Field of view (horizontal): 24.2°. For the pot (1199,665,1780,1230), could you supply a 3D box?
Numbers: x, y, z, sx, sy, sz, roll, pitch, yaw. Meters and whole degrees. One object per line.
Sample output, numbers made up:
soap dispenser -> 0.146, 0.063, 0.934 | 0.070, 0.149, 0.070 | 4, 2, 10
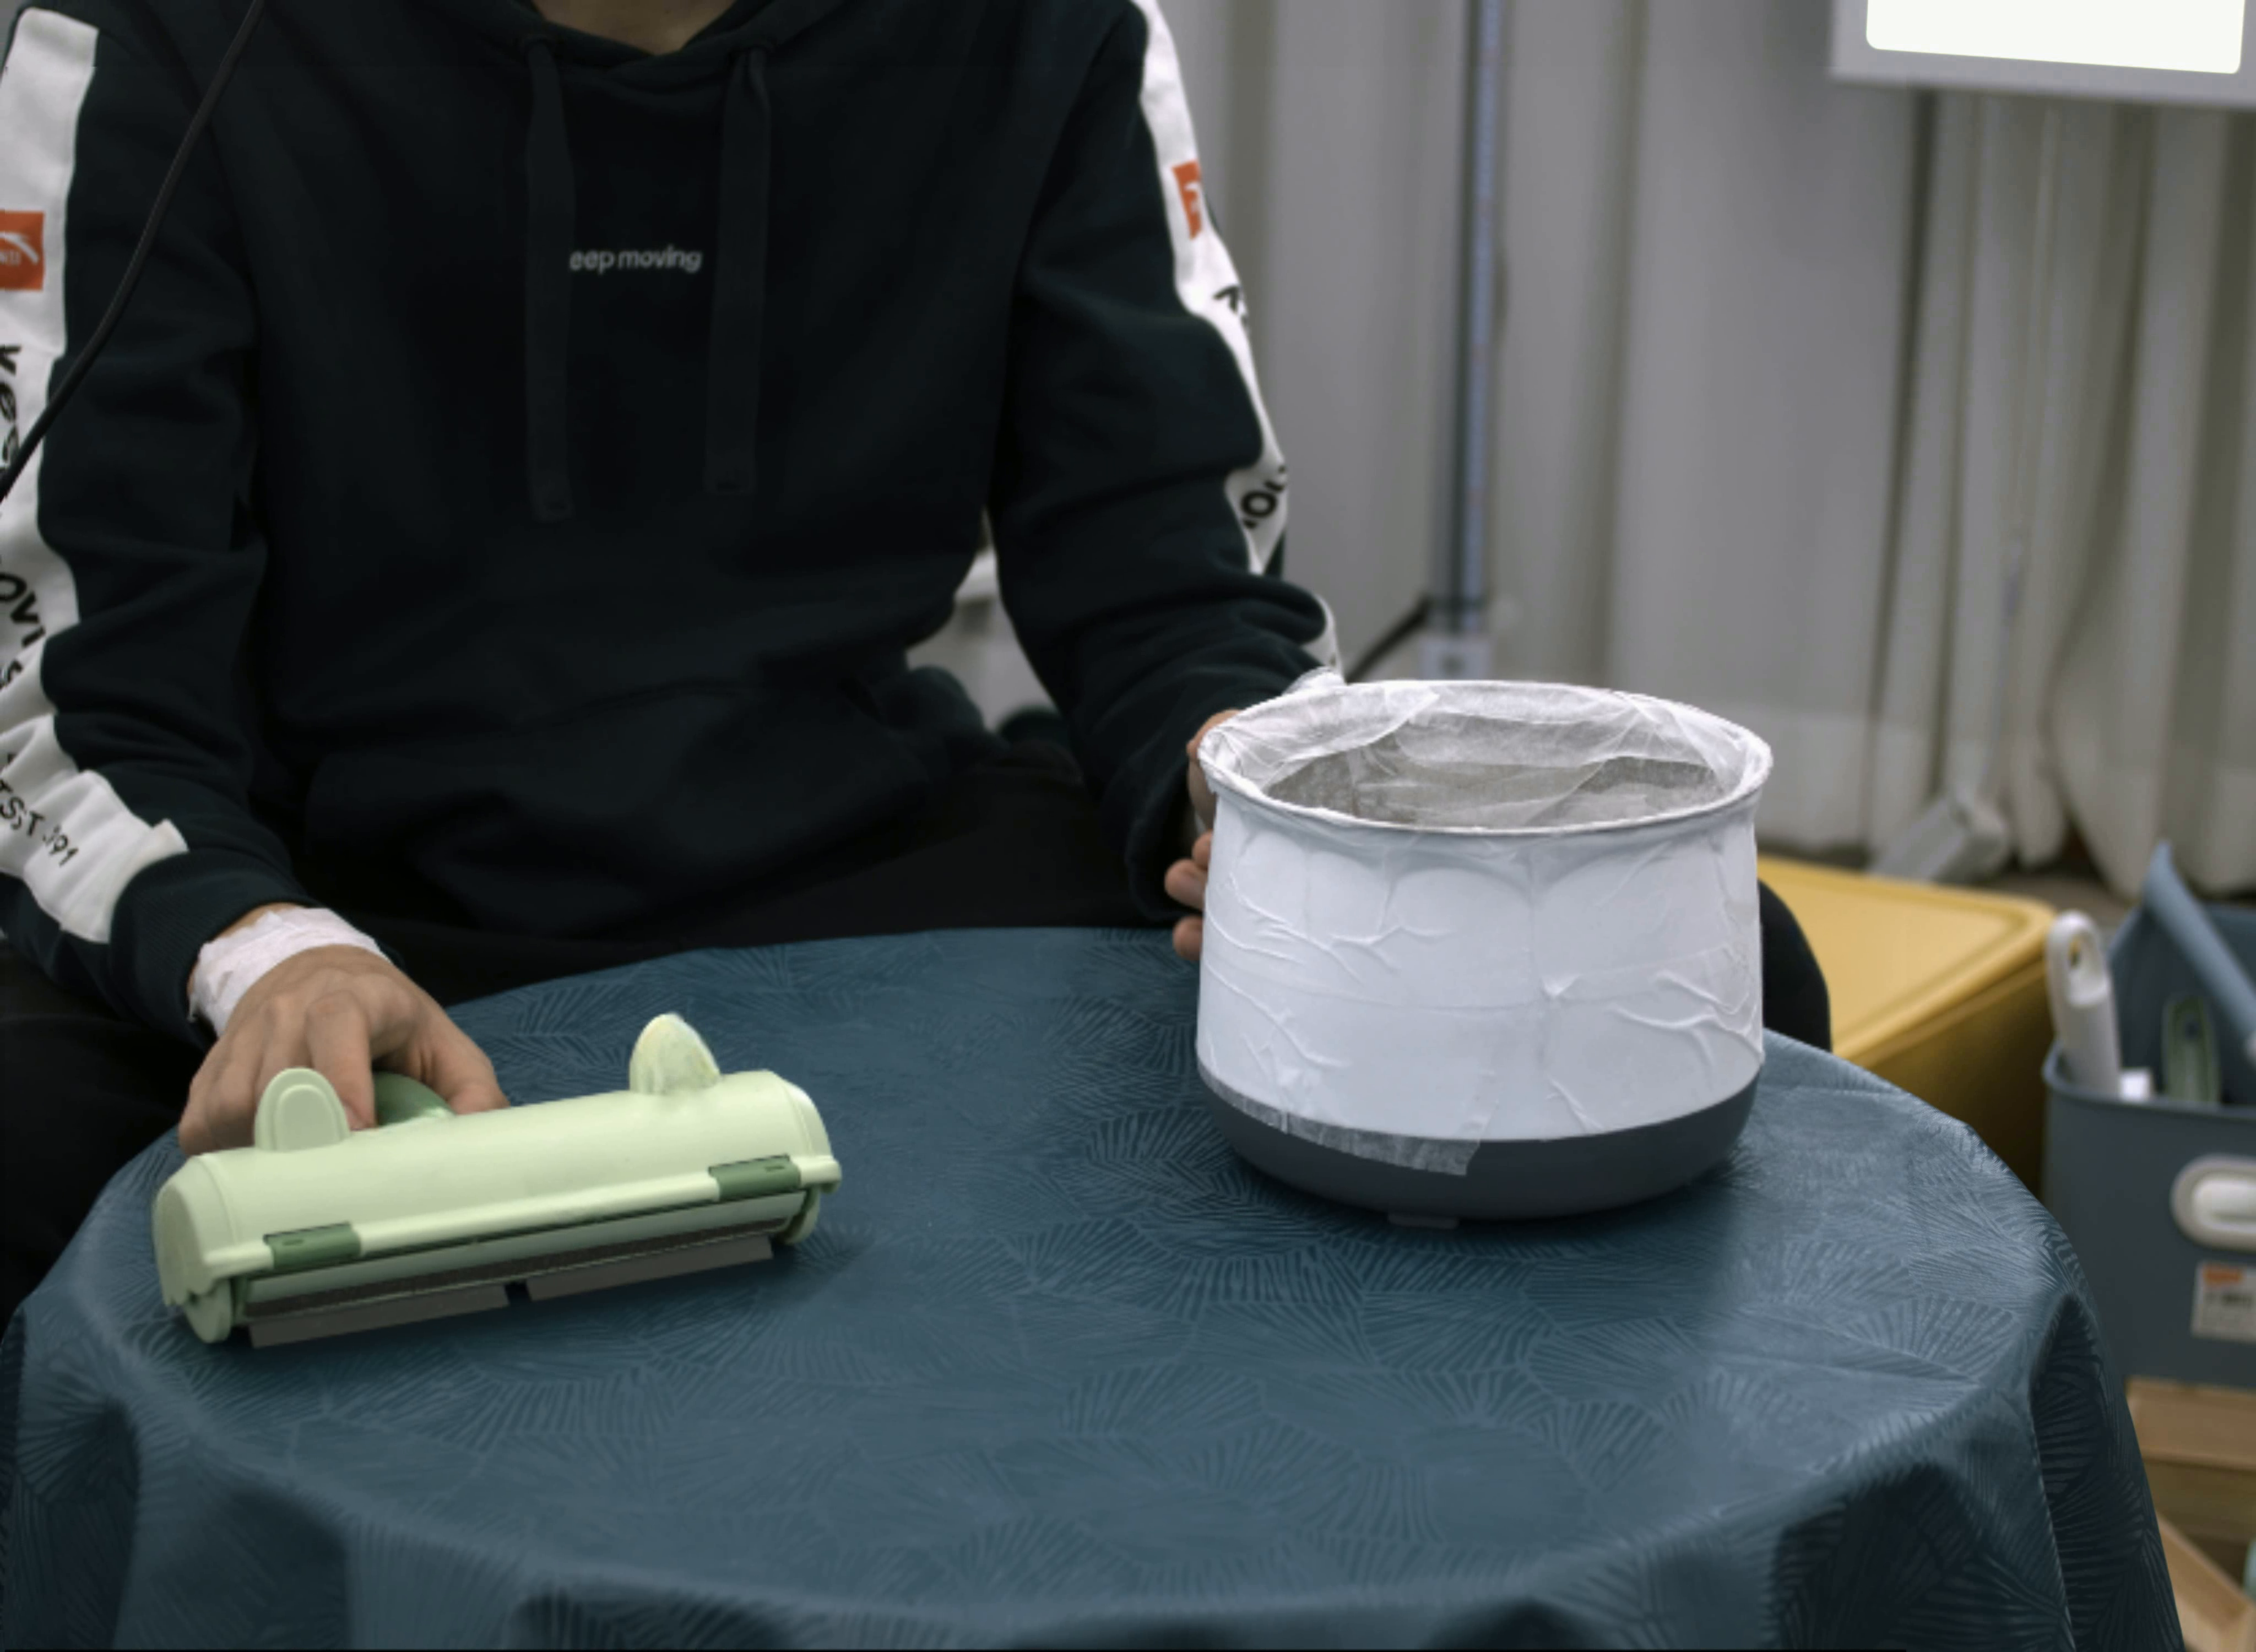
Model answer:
pot -> 0.097, 0.032, 1.656 | 0.179, 0.138, 0.231 | -8, 18, -28

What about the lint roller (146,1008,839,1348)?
lint roller -> -0.208, 0.085, 1.569 | 0.199, 0.083, 0.181 | -8, 23, -26
